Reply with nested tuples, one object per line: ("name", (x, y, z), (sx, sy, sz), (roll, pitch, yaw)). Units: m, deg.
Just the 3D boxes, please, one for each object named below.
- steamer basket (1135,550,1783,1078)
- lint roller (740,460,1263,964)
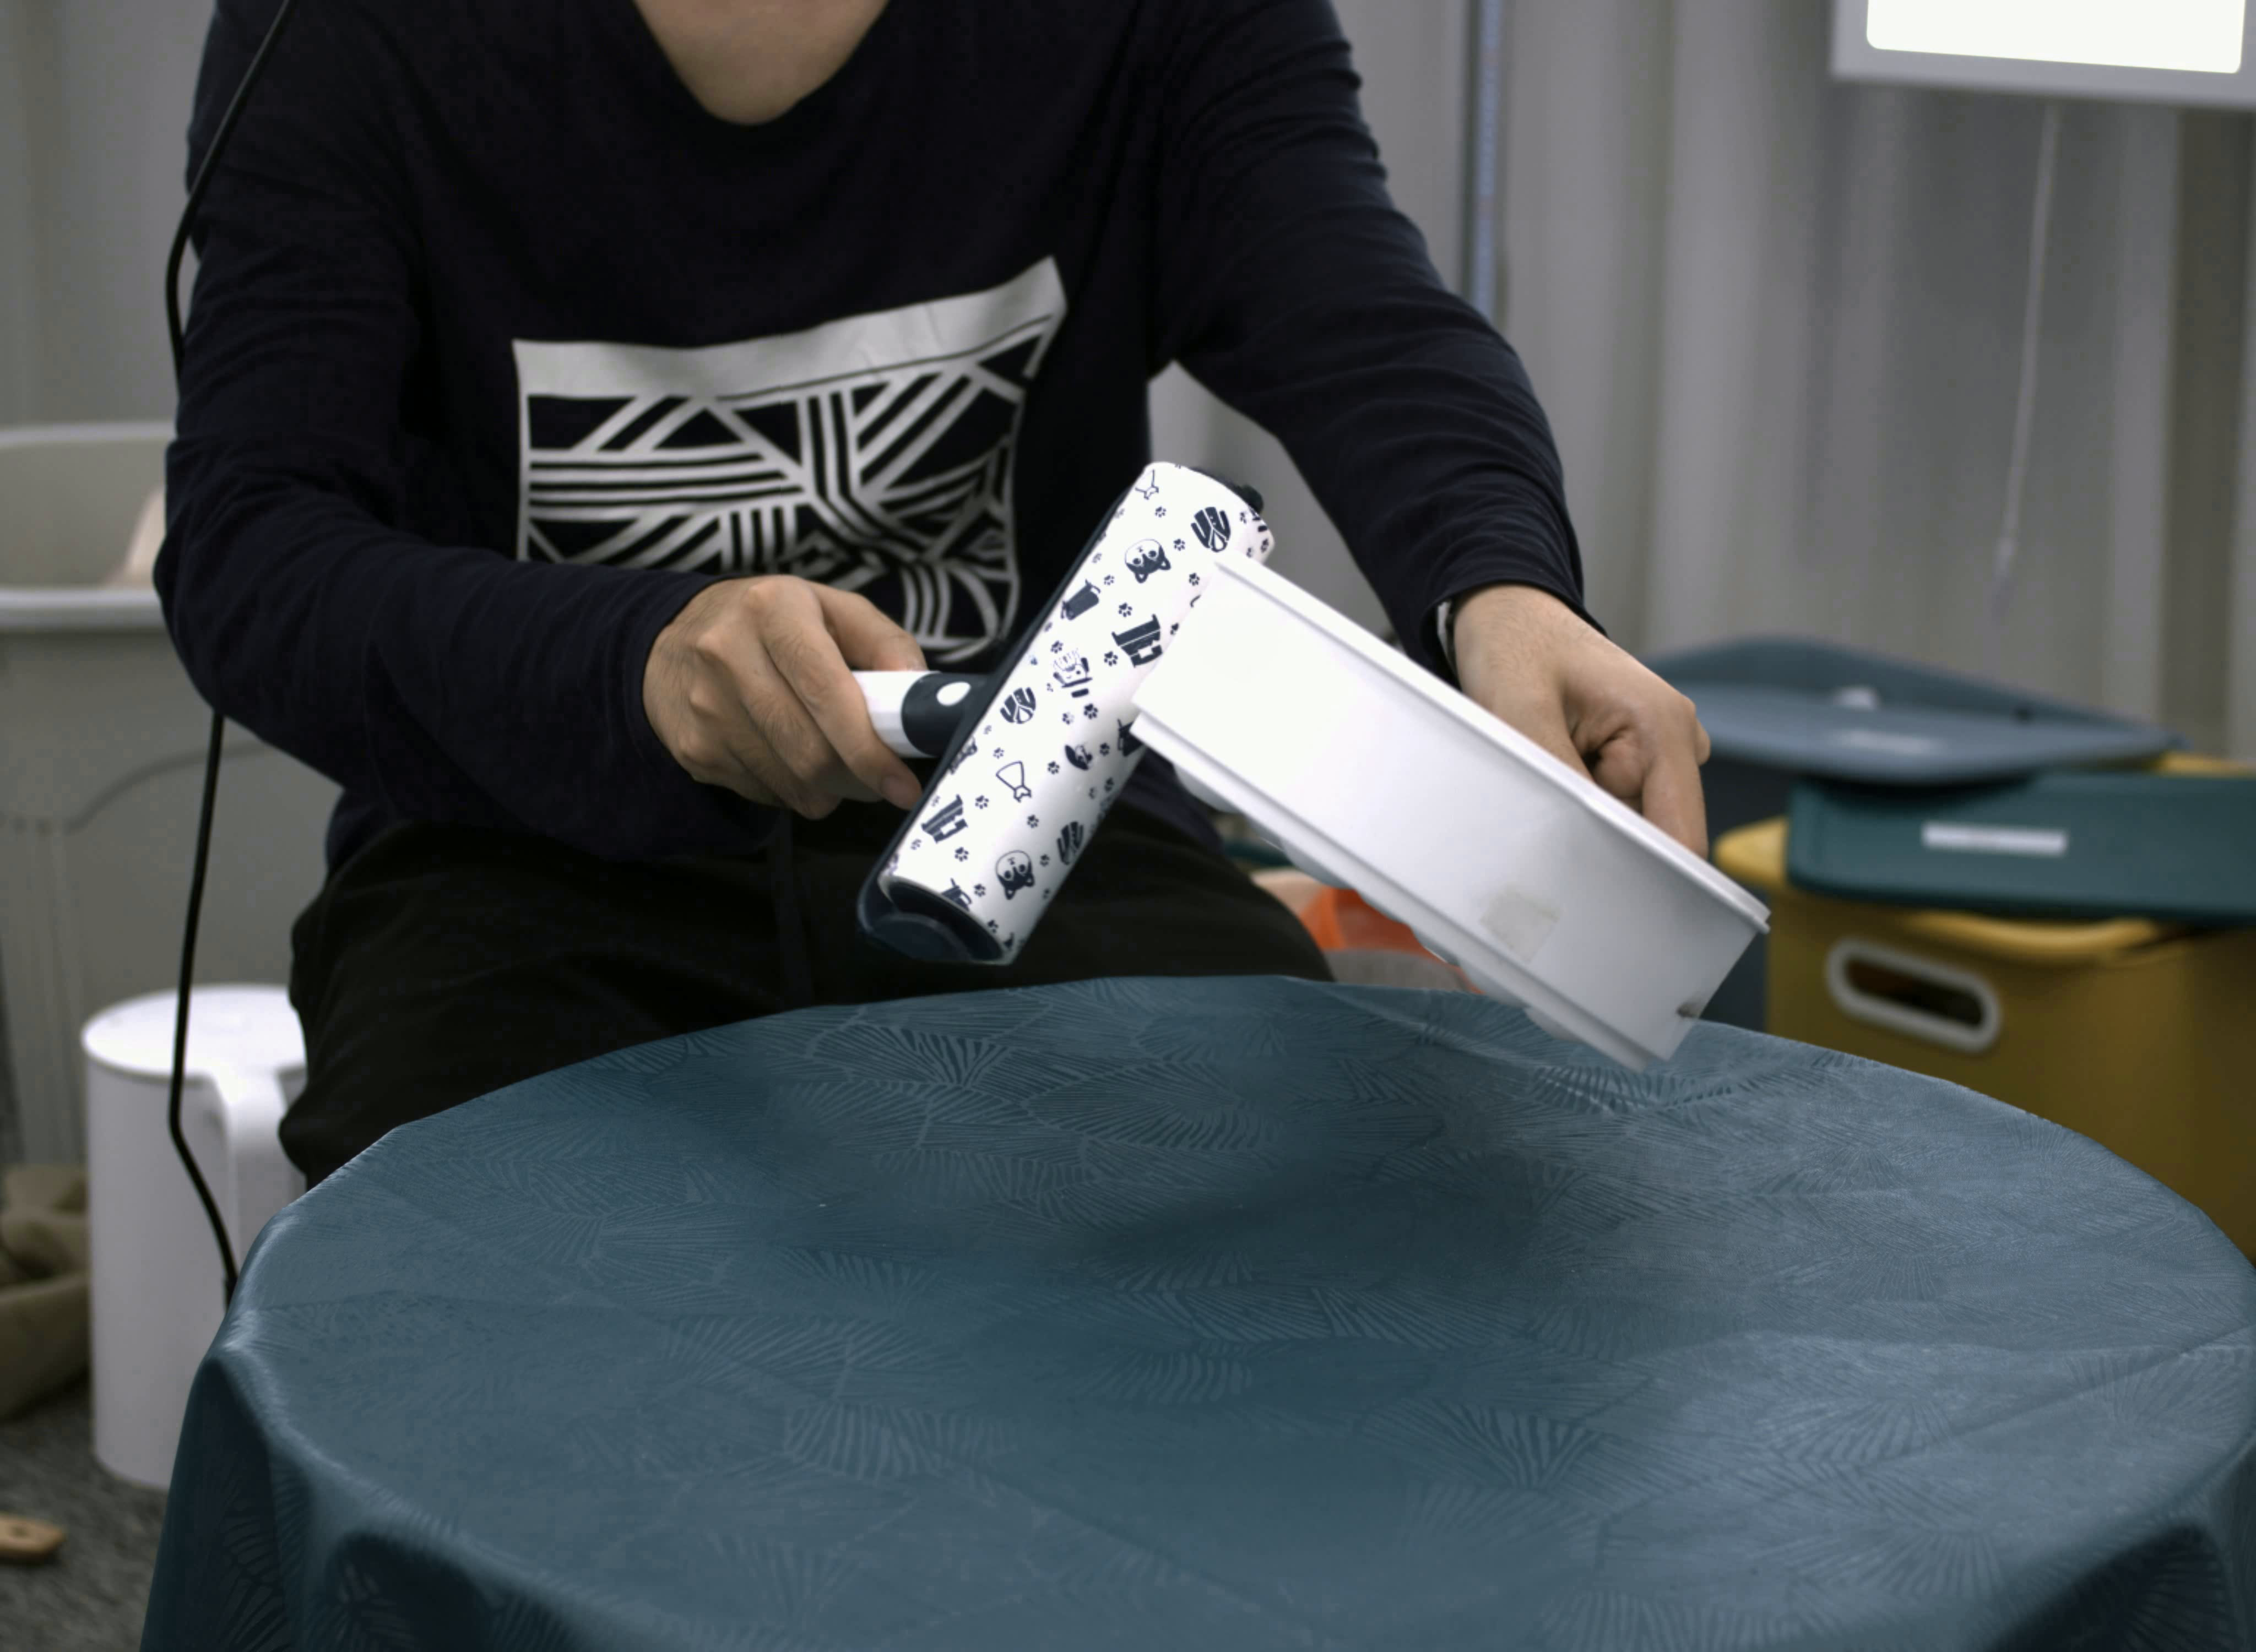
("steamer basket", (0.095, 0.000, 1.567), (0.204, 0.069, 0.227), (34, -1, -36))
("lint roller", (-0.069, -0.035, 1.704), (0.051, 0.176, 0.244), (40, -20, -27))
